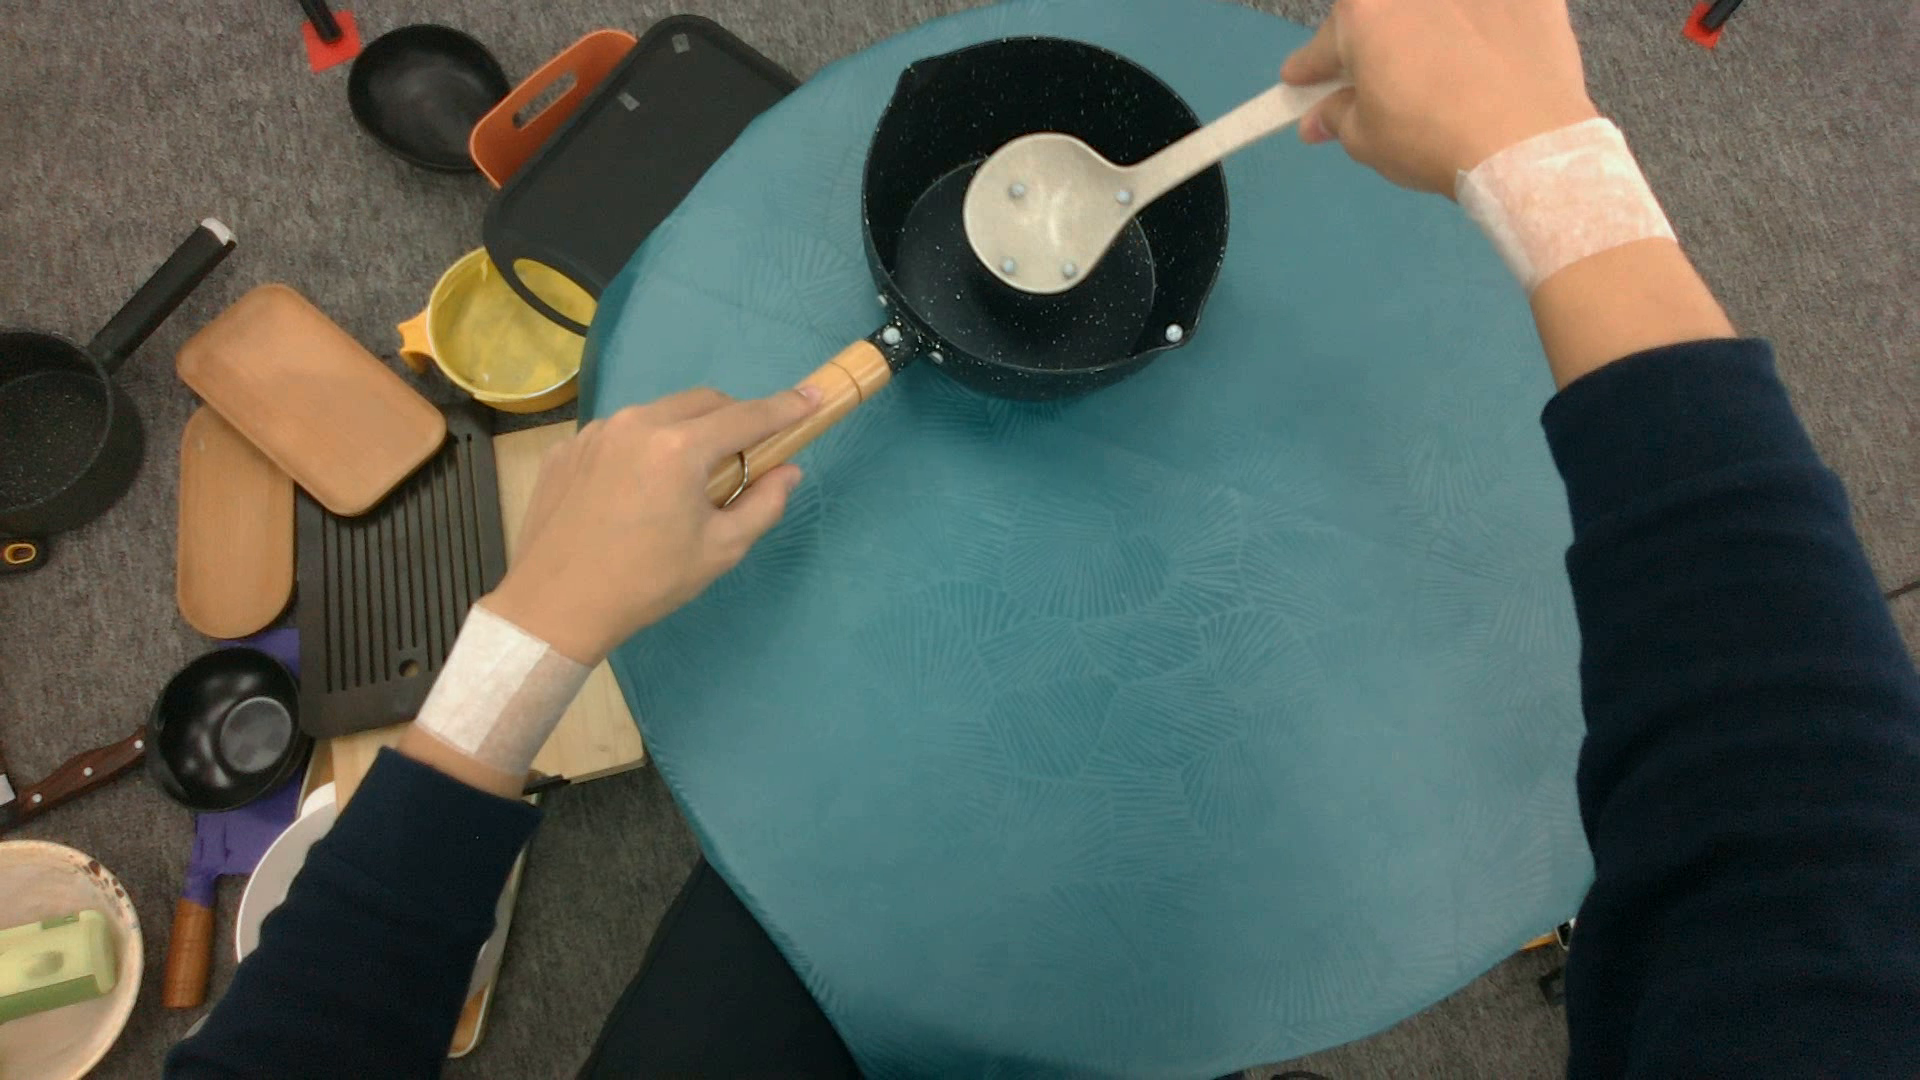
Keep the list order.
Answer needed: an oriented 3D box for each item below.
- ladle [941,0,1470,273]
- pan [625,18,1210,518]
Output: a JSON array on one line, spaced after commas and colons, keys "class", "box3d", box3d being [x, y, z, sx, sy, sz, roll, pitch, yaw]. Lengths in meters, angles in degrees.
[{"class": "ladle", "box3d": [0.095, -0.198, 0.629, 0.069, 0.274, 0.089, 14, 72, -33]}, {"class": "pan", "box3d": [-0.025, -0.116, 0.688, 0.207, 0.108, 0.344, 44, 74, 5]}]
